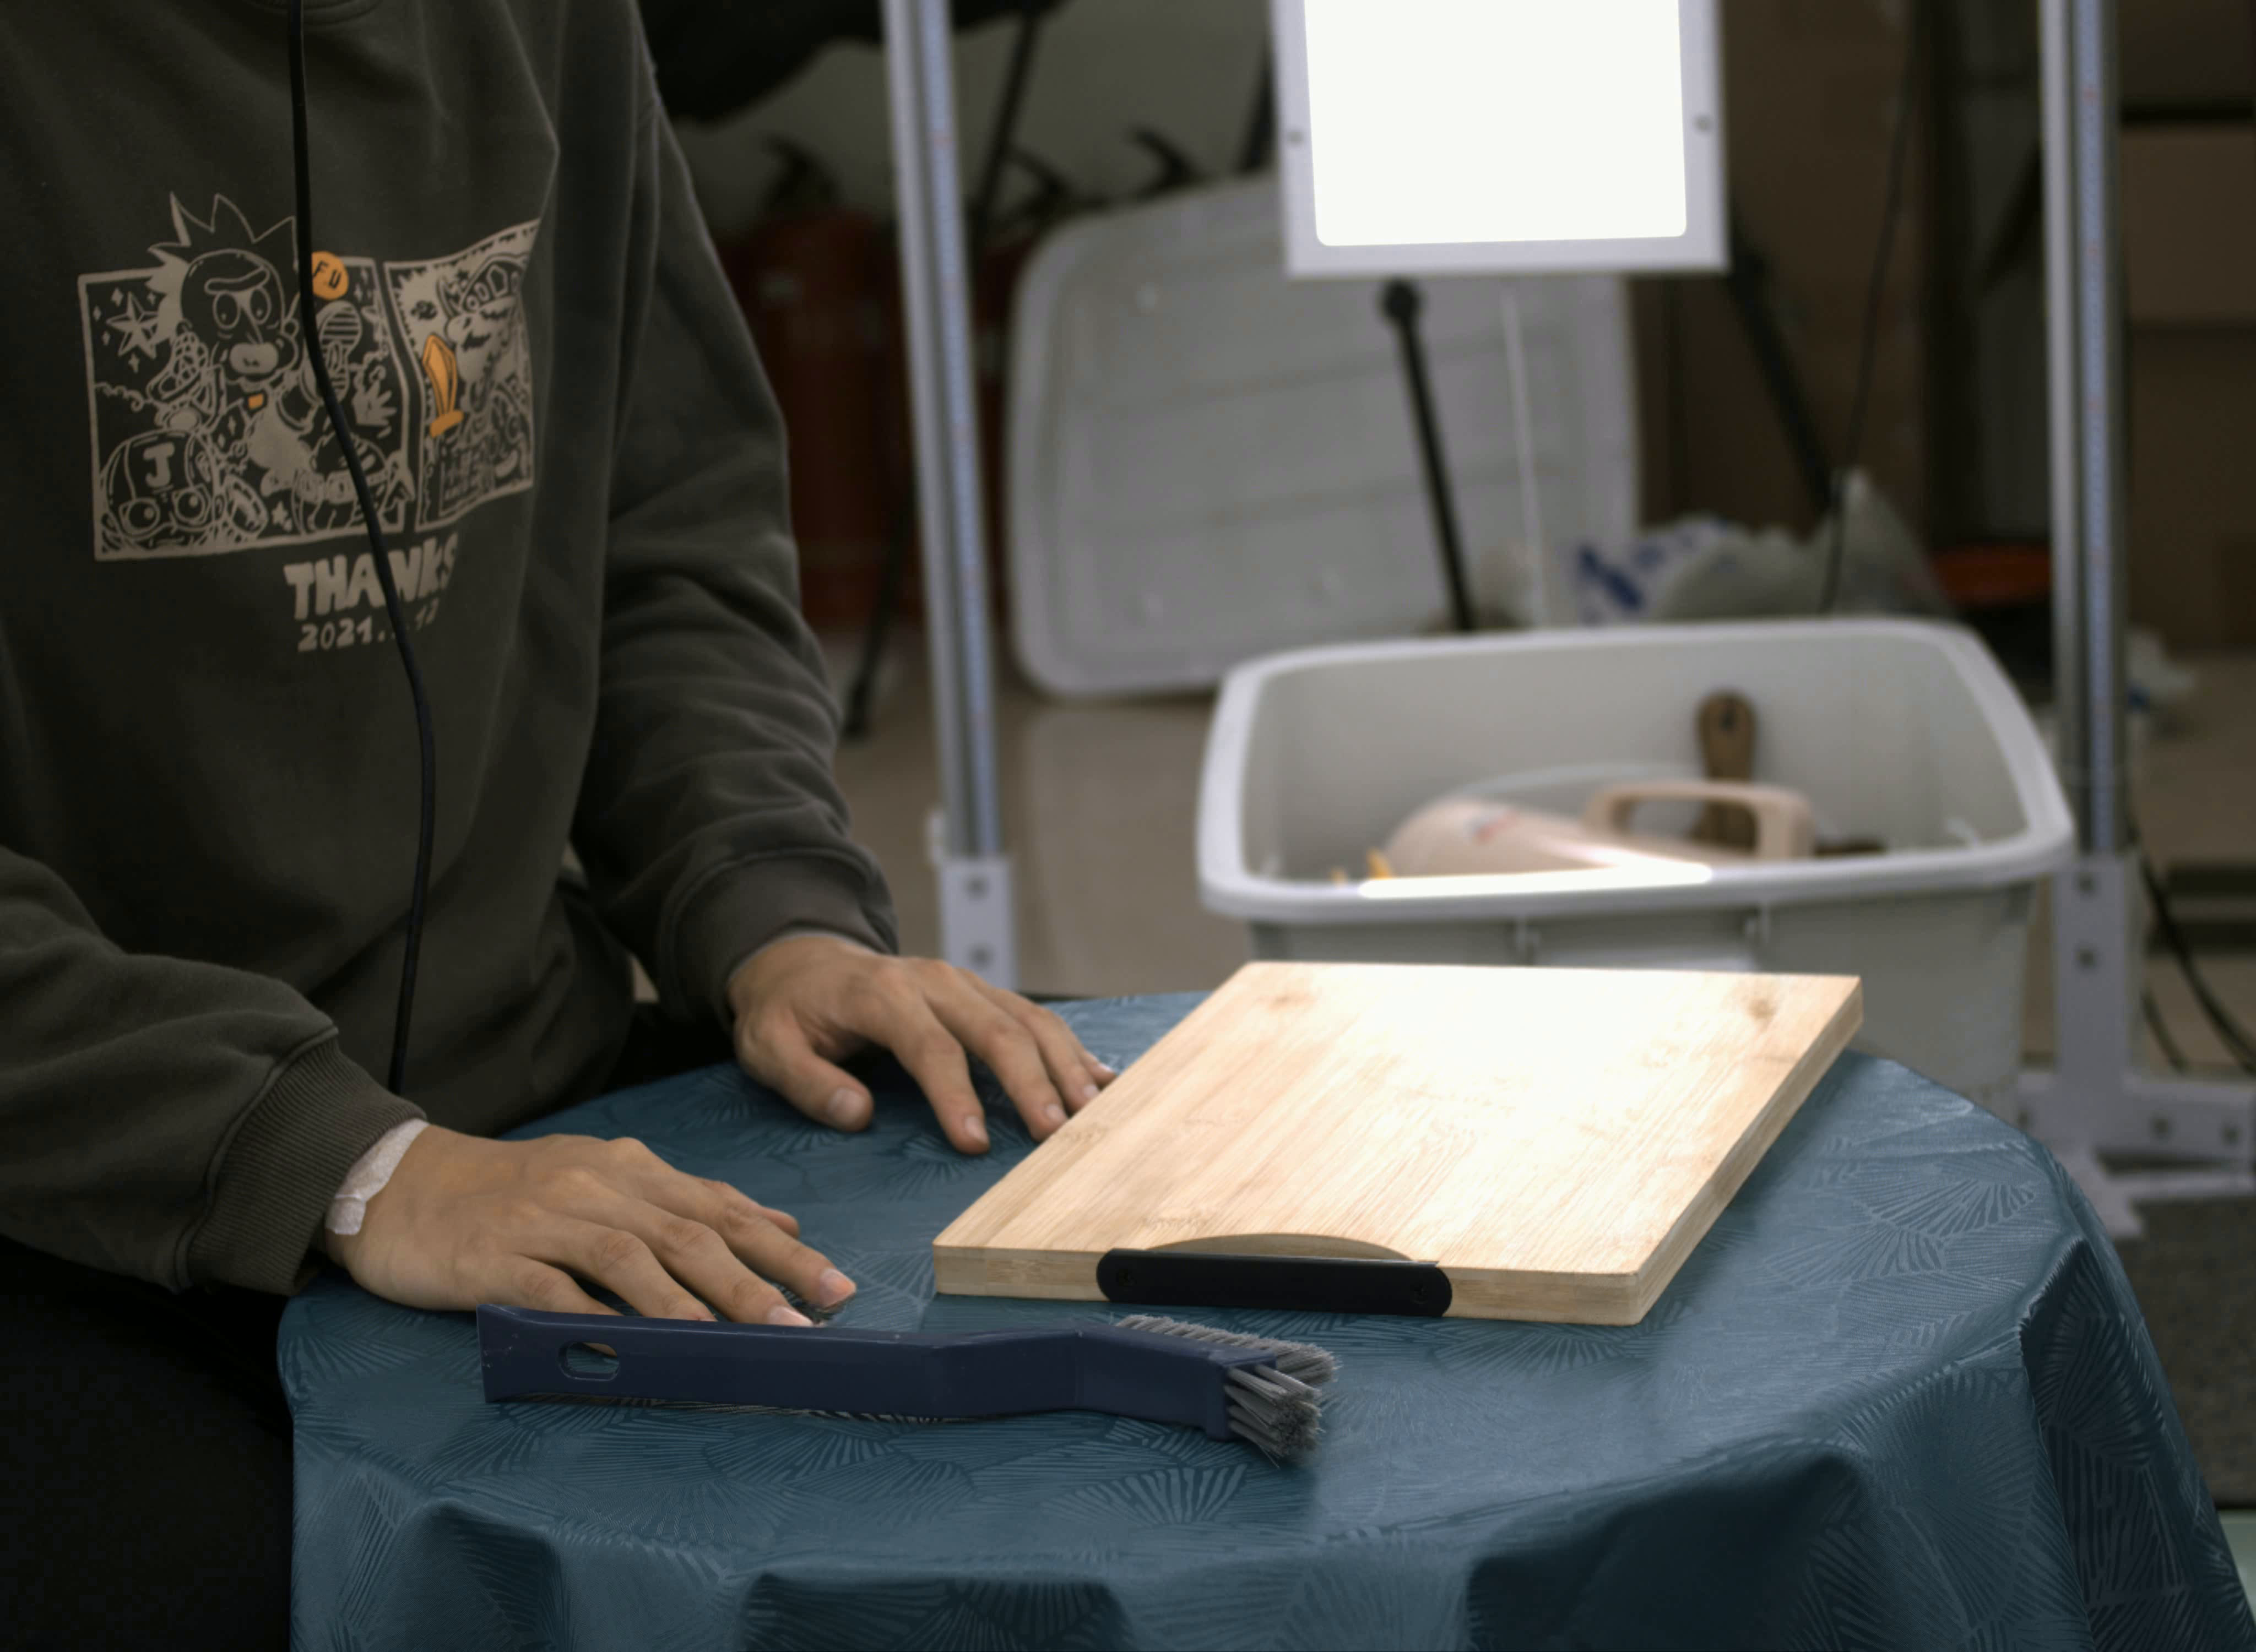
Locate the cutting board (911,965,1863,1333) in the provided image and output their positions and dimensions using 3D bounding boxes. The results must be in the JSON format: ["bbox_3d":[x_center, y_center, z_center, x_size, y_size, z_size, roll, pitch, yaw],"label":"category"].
[{"bbox_3d":[0.101,0.107,1.907,0.254,0.023,0.342,-1,14,20],"label":"cutting board"}]

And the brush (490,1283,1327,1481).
[{"bbox_3d":[-0.075,0.168,1.690,0.275,0.033,0.094,0,14,15],"label":"brush"}]
